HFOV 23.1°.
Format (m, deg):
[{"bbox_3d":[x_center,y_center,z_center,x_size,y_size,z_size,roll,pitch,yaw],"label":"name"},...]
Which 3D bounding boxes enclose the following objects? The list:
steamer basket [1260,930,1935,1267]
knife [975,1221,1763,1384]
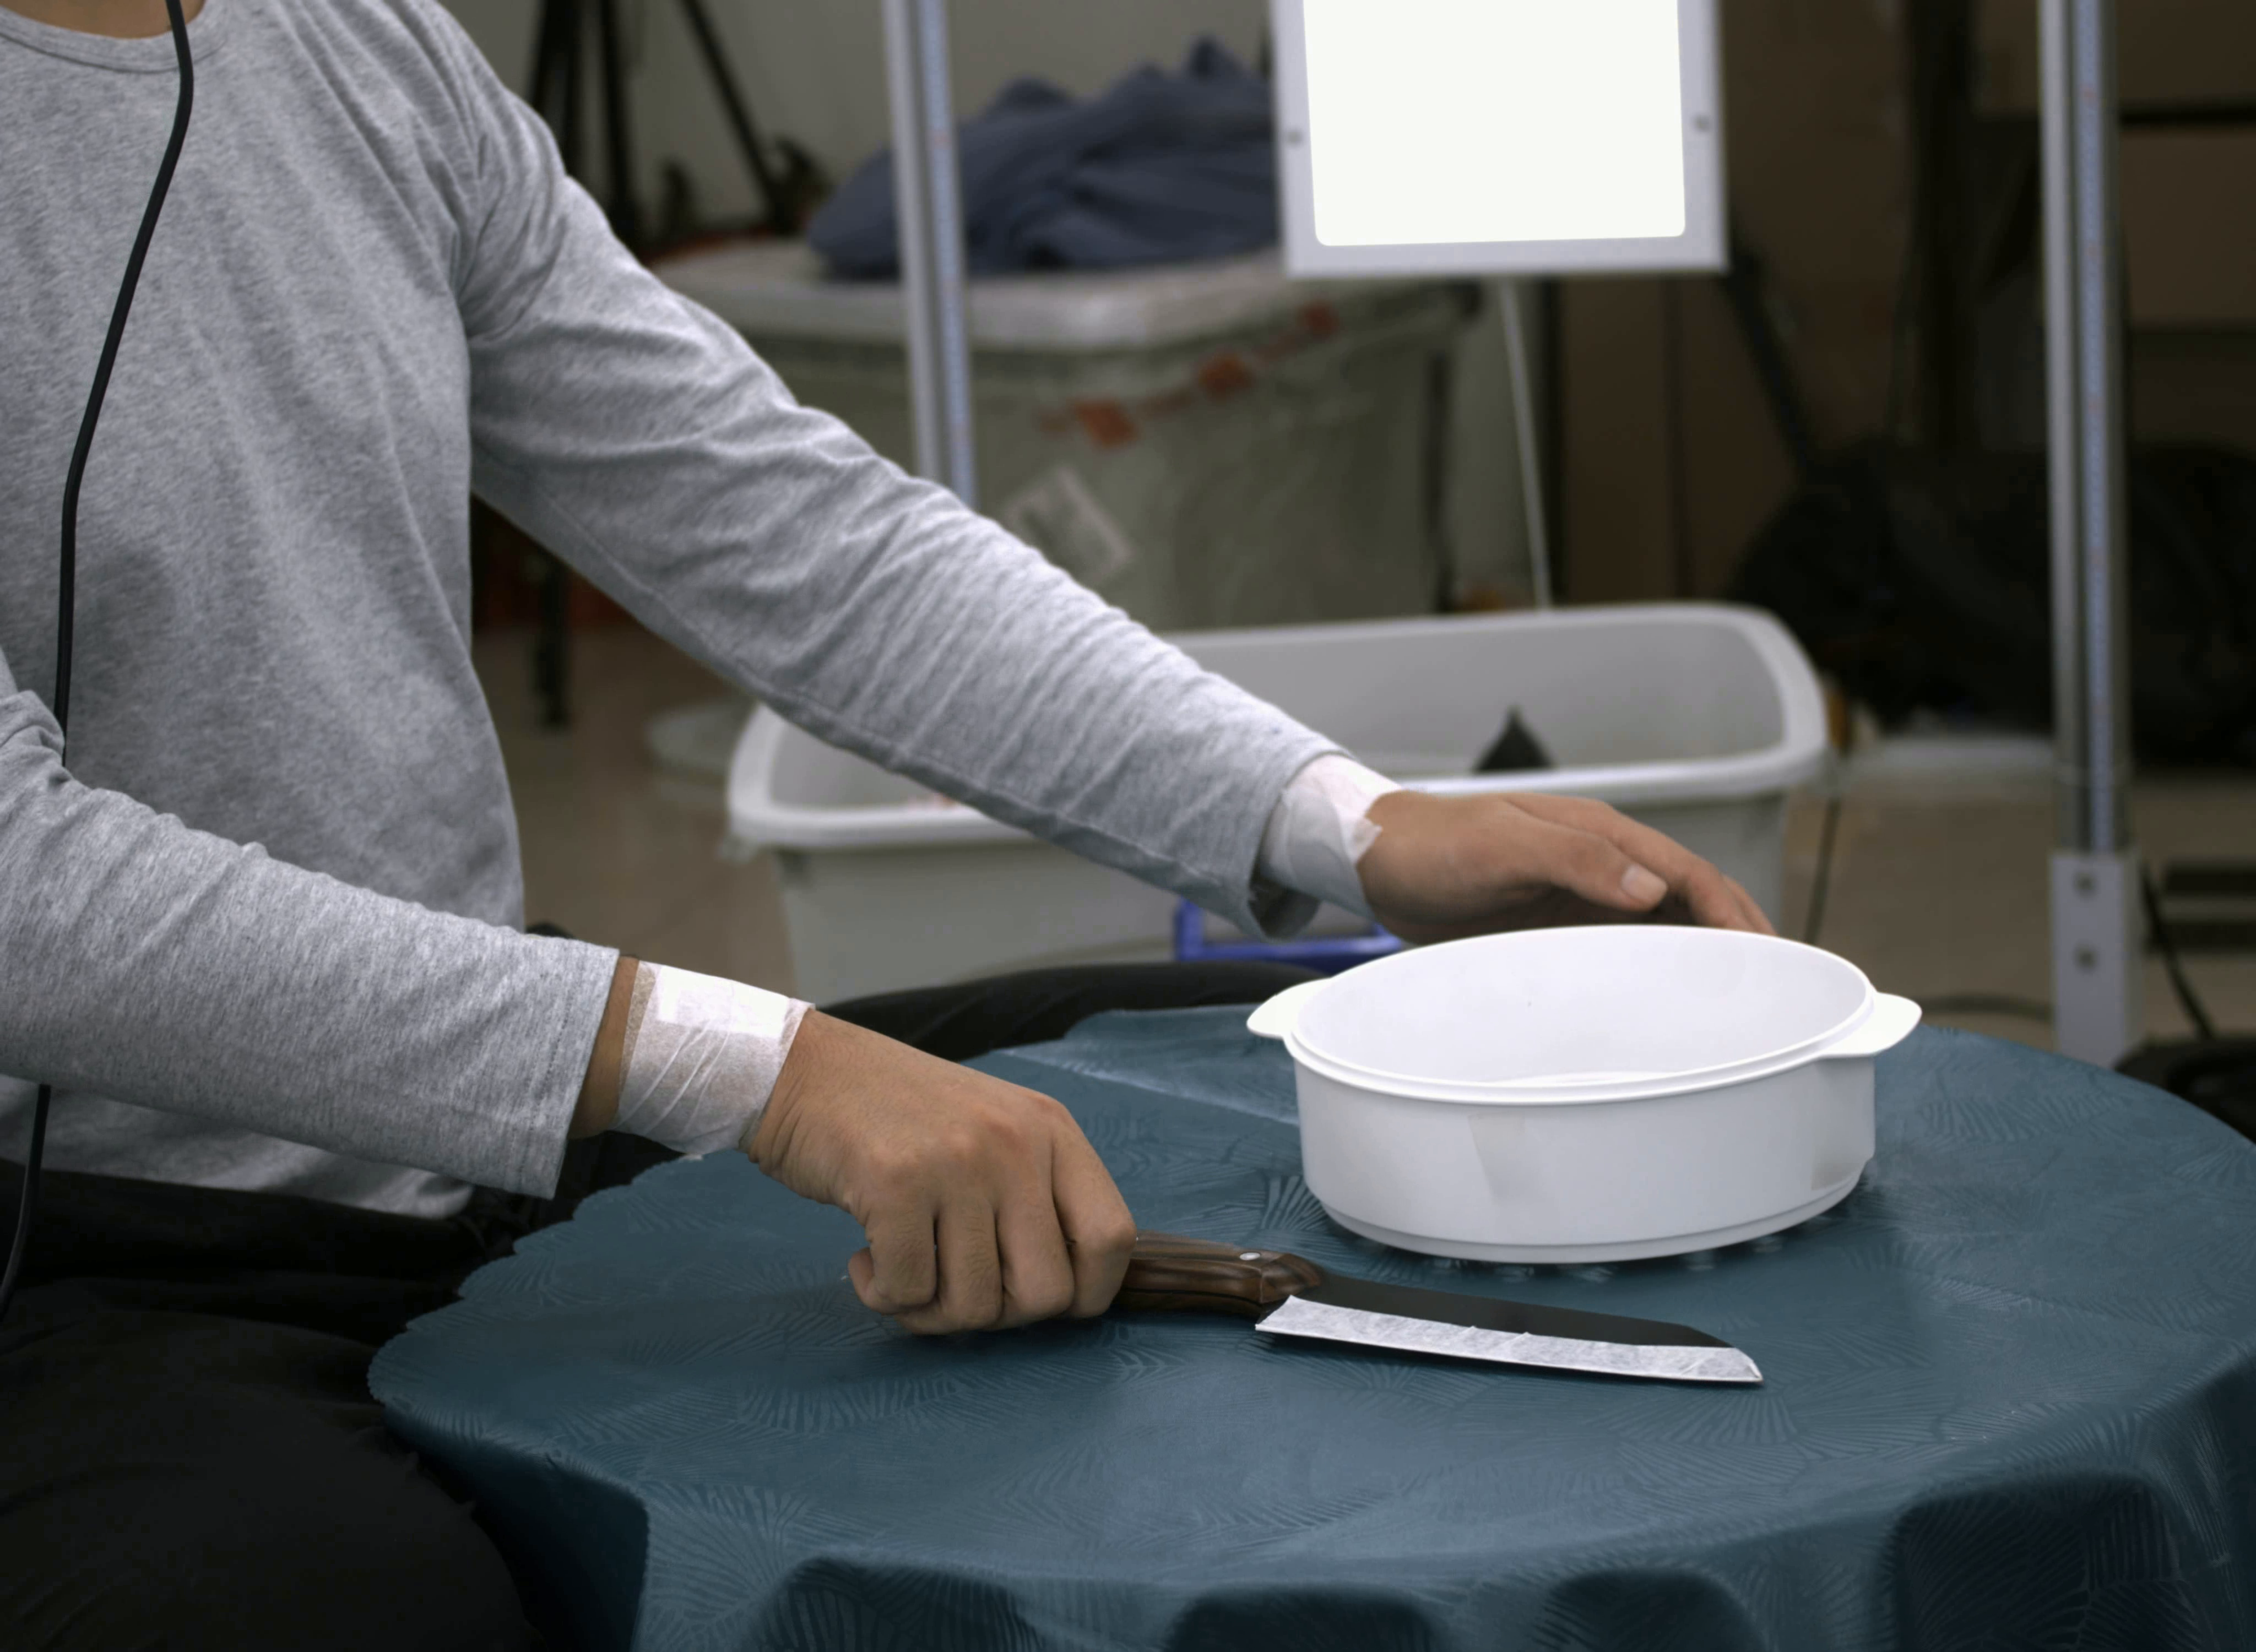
[{"bbox_3d":[0.159,0.091,1.849,0.234,0.069,0.198,0,14,24],"label":"steamer basket"},{"bbox_3d":[0.071,0.152,1.738,0.295,0.020,0.049,6,23,33],"label":"knife"}]
